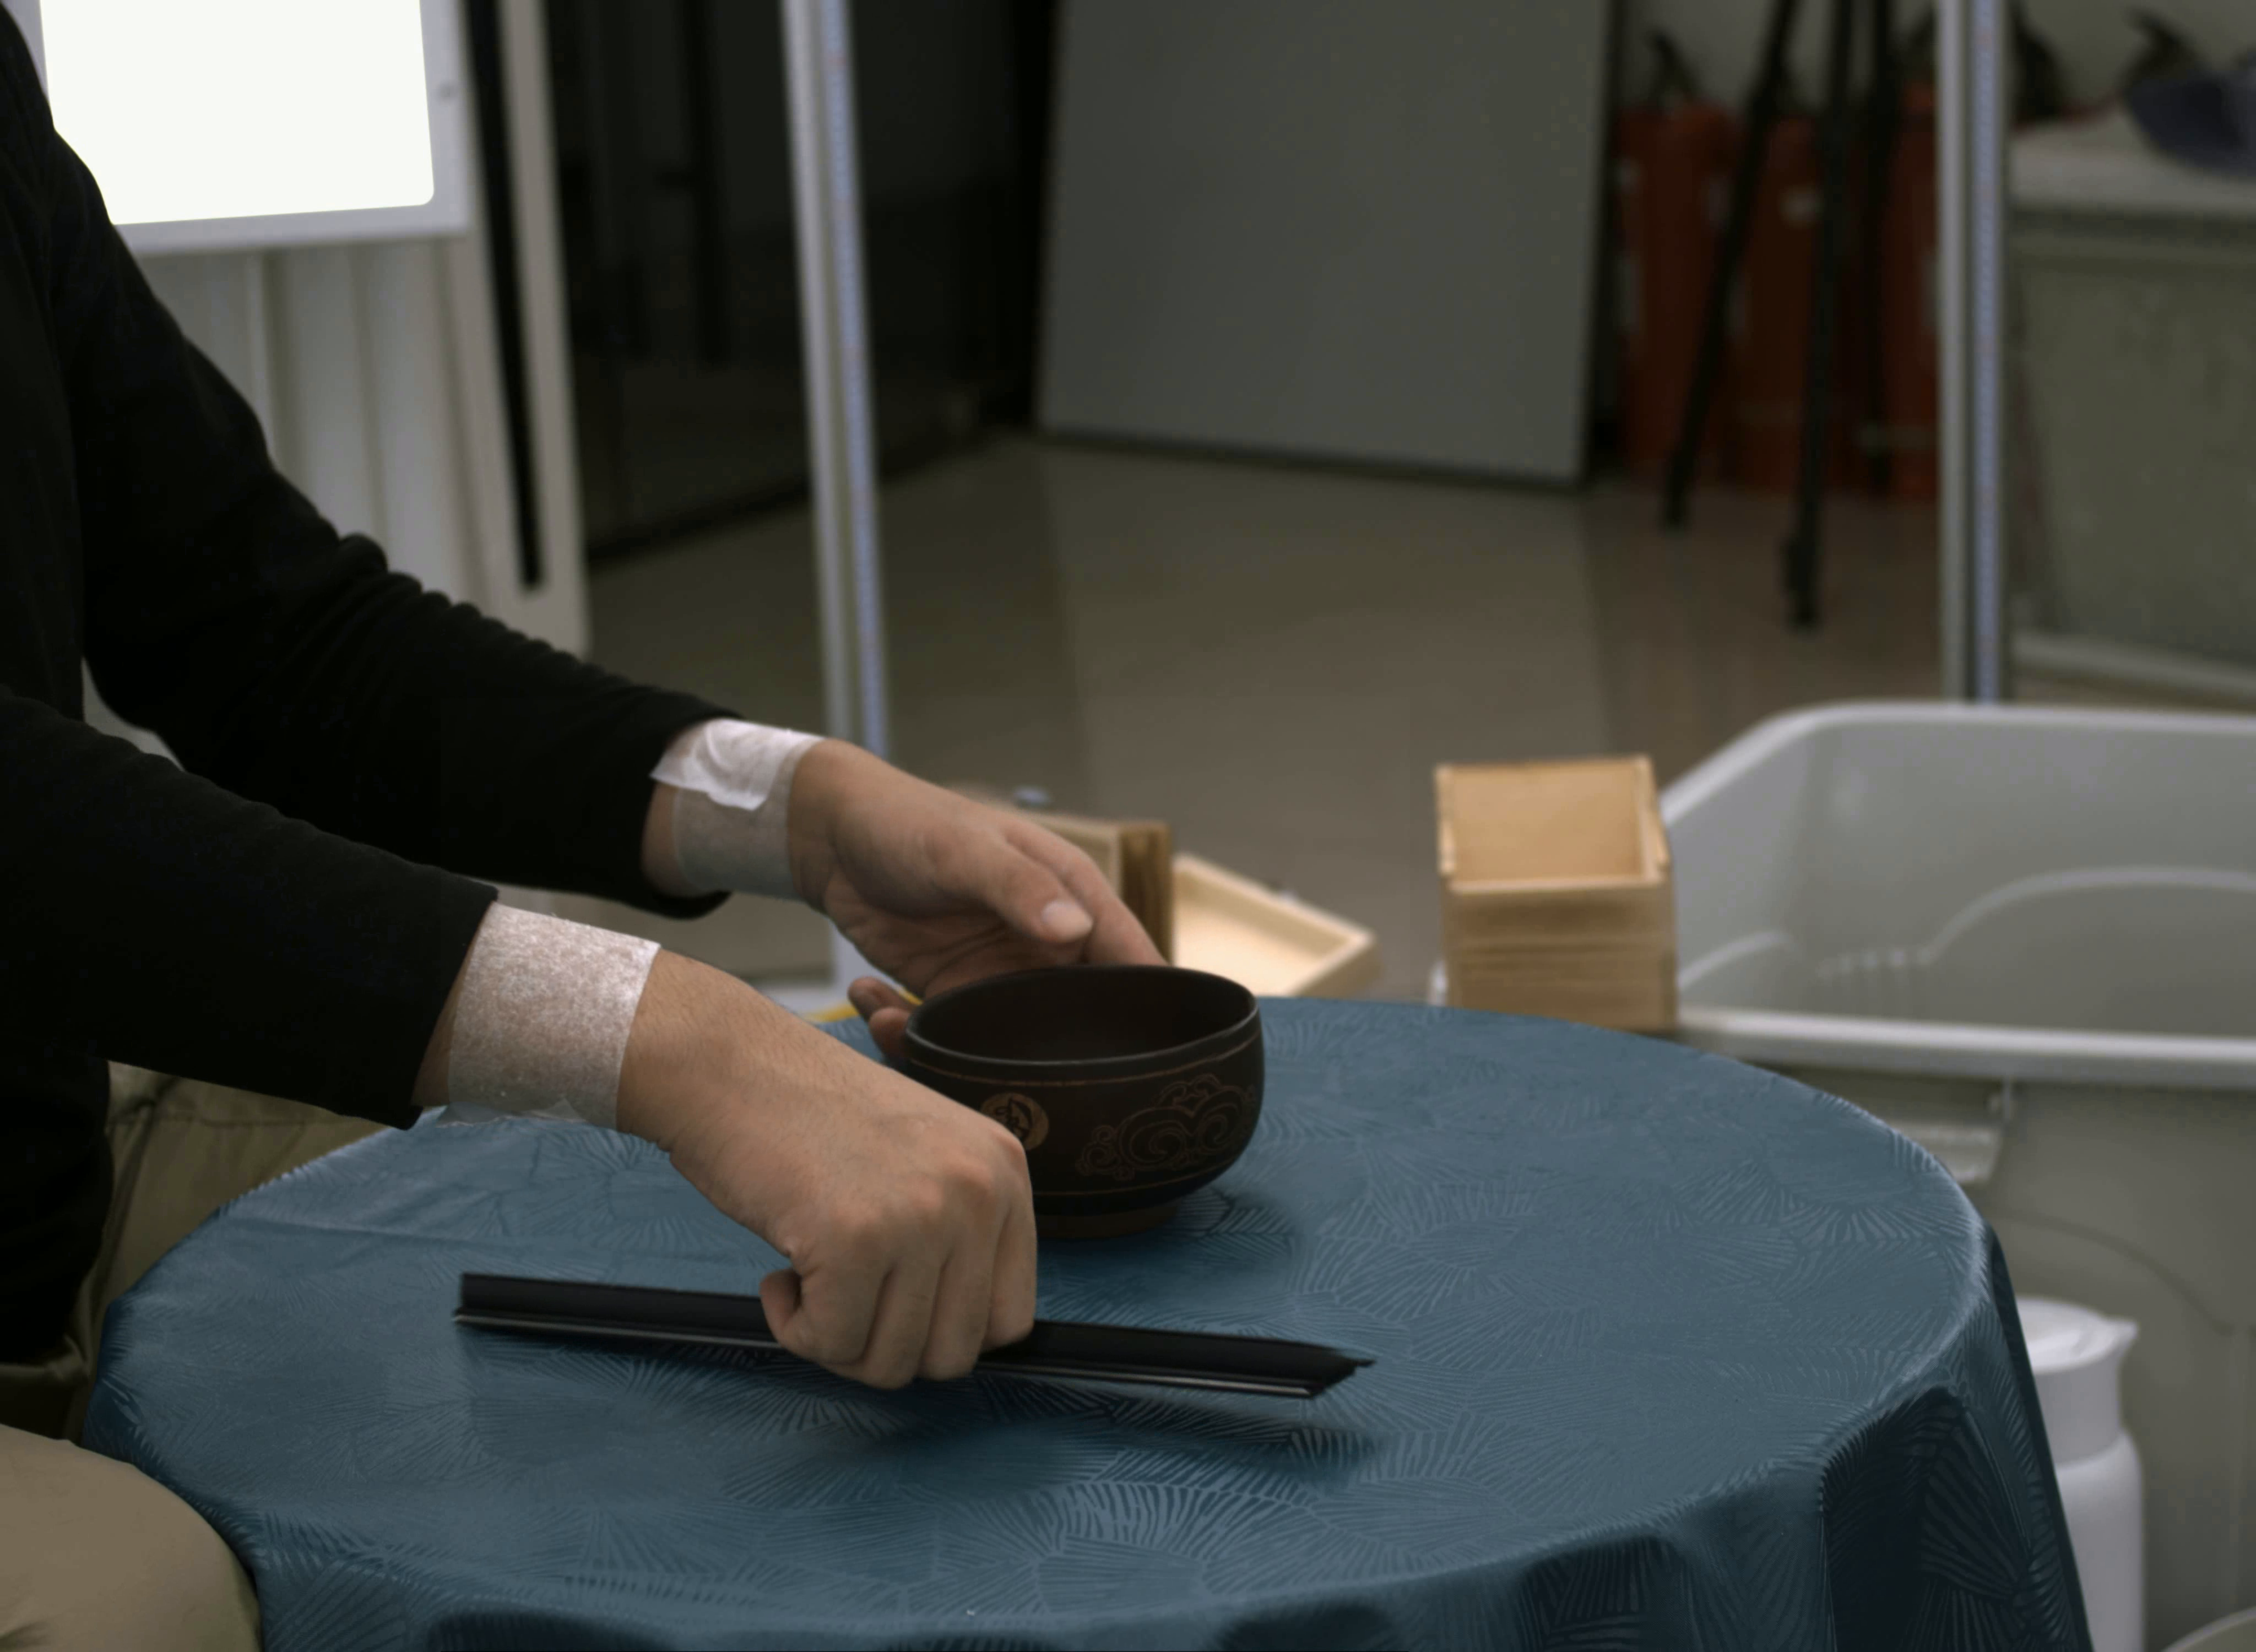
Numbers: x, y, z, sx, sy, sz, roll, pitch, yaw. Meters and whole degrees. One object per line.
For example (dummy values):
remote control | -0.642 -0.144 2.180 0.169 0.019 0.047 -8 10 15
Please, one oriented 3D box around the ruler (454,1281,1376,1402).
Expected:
ruler | -0.068 0.149 1.609 0.314 0.017 0.038 1 9 32

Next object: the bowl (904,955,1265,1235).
bowl | -0.013 0.090 1.743 0.116 0.070 0.118 -3 13 0
